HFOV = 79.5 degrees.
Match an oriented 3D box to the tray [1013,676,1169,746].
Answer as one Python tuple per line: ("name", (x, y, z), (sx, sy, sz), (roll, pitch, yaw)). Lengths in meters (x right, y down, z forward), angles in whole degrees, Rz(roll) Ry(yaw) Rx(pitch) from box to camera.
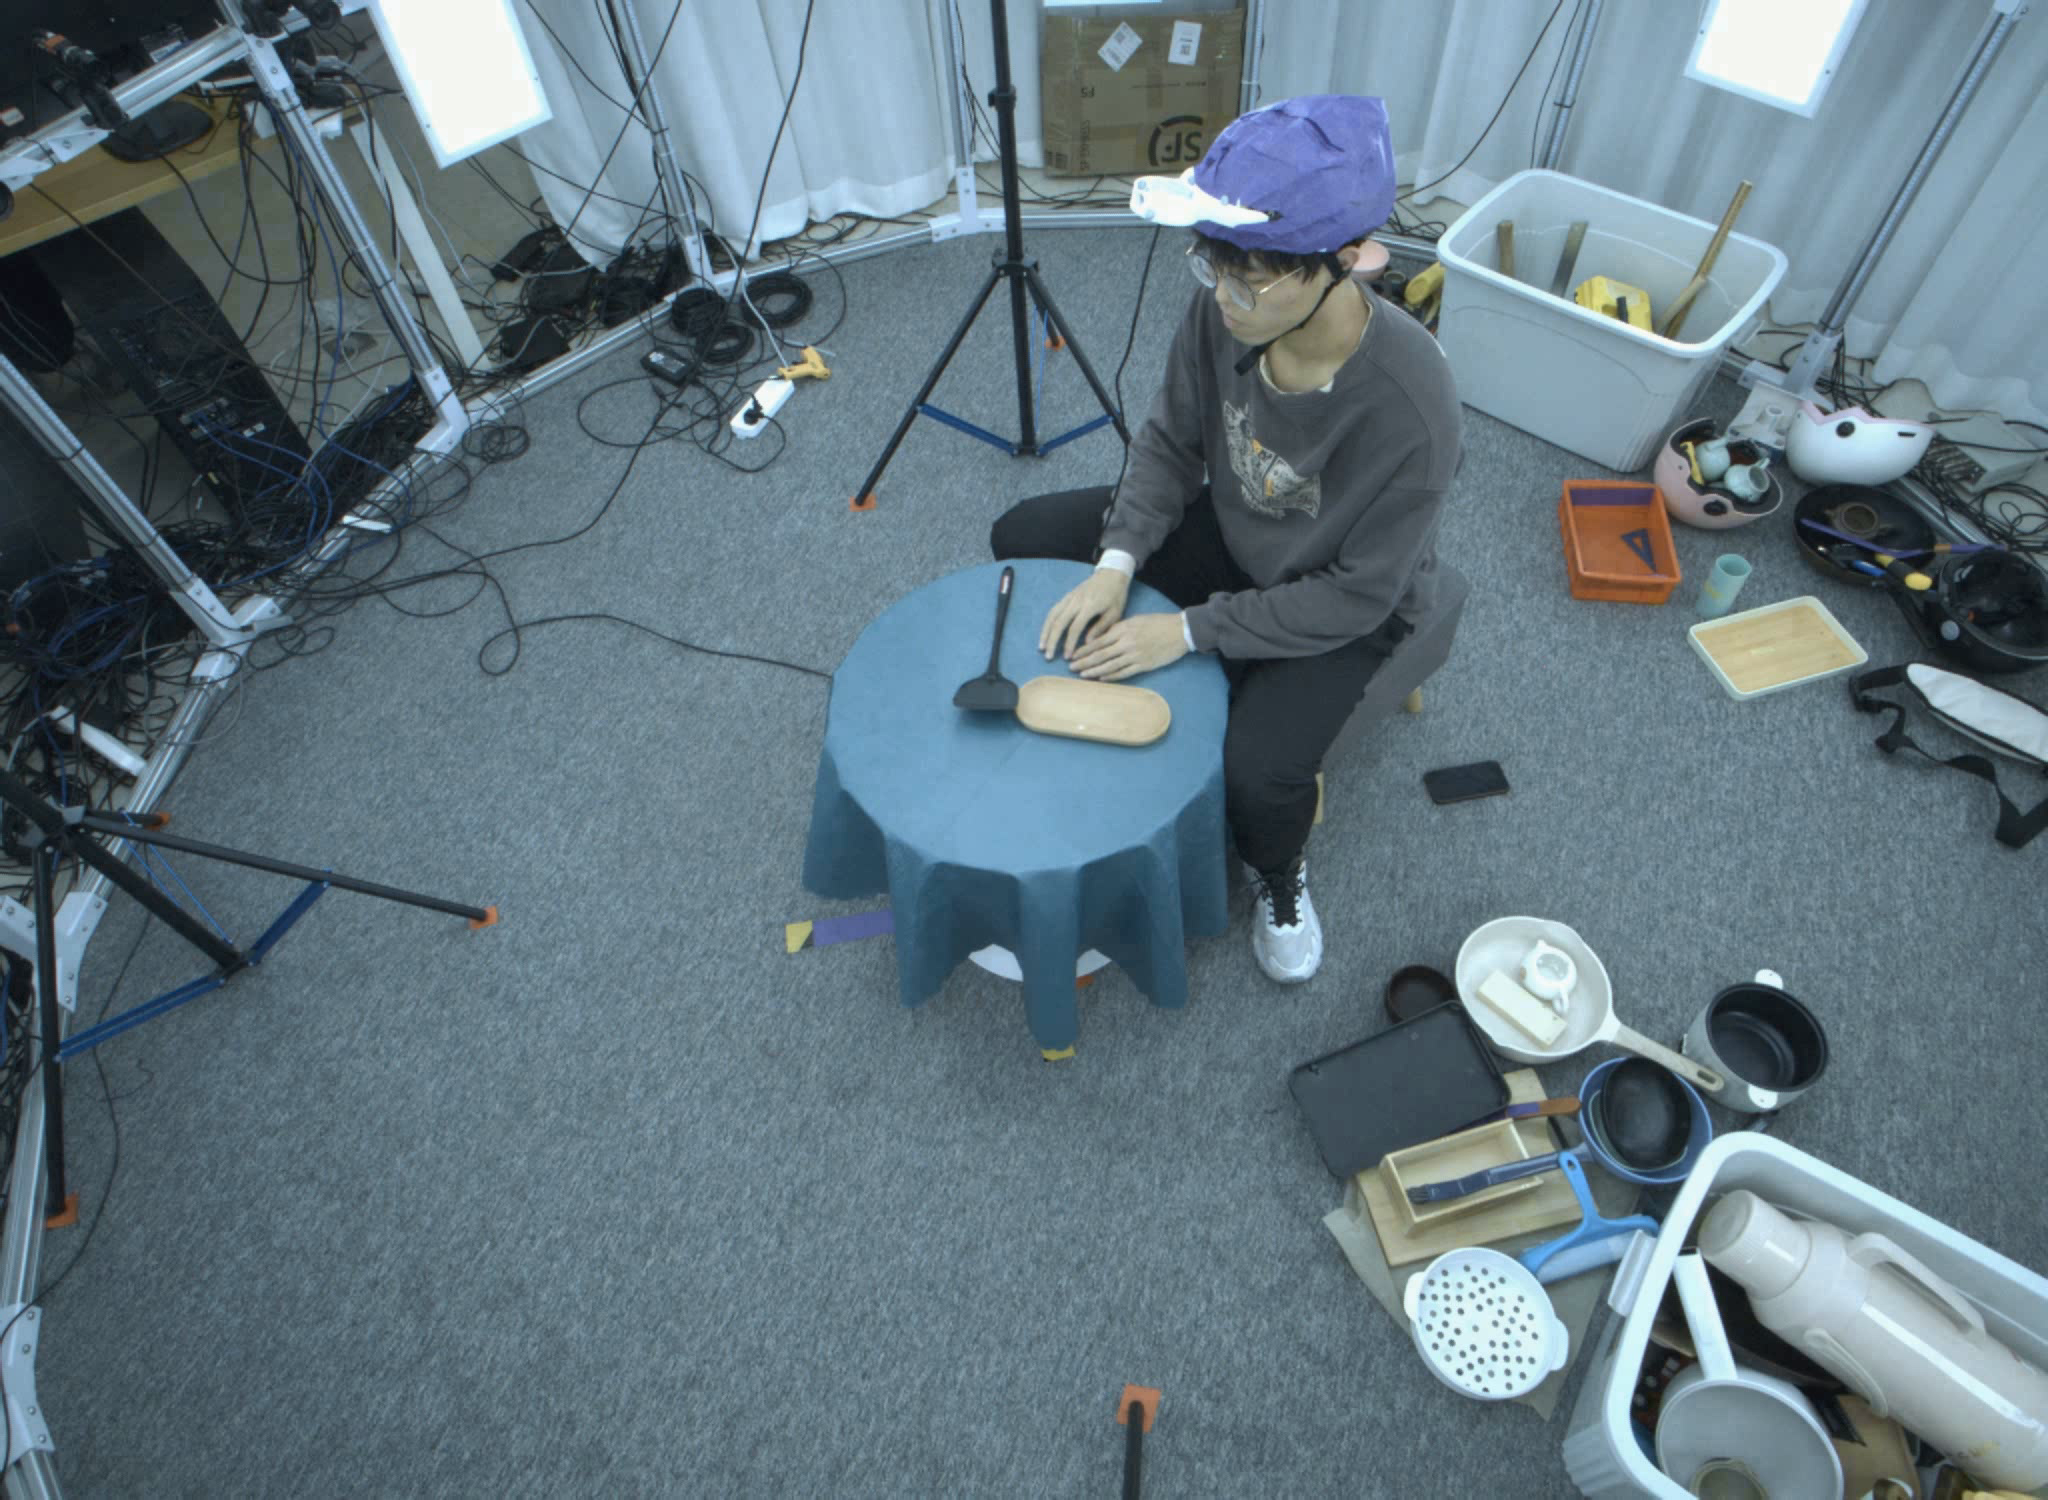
("tray", (0.098, -0.057, 1.813), (0.229, 0.020, 0.101), (8, 54, 9))

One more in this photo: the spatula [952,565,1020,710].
("spatula", (-0.041, -0.178, 1.892), (0.099, 0.041, 0.323), (4, 55, 4))
